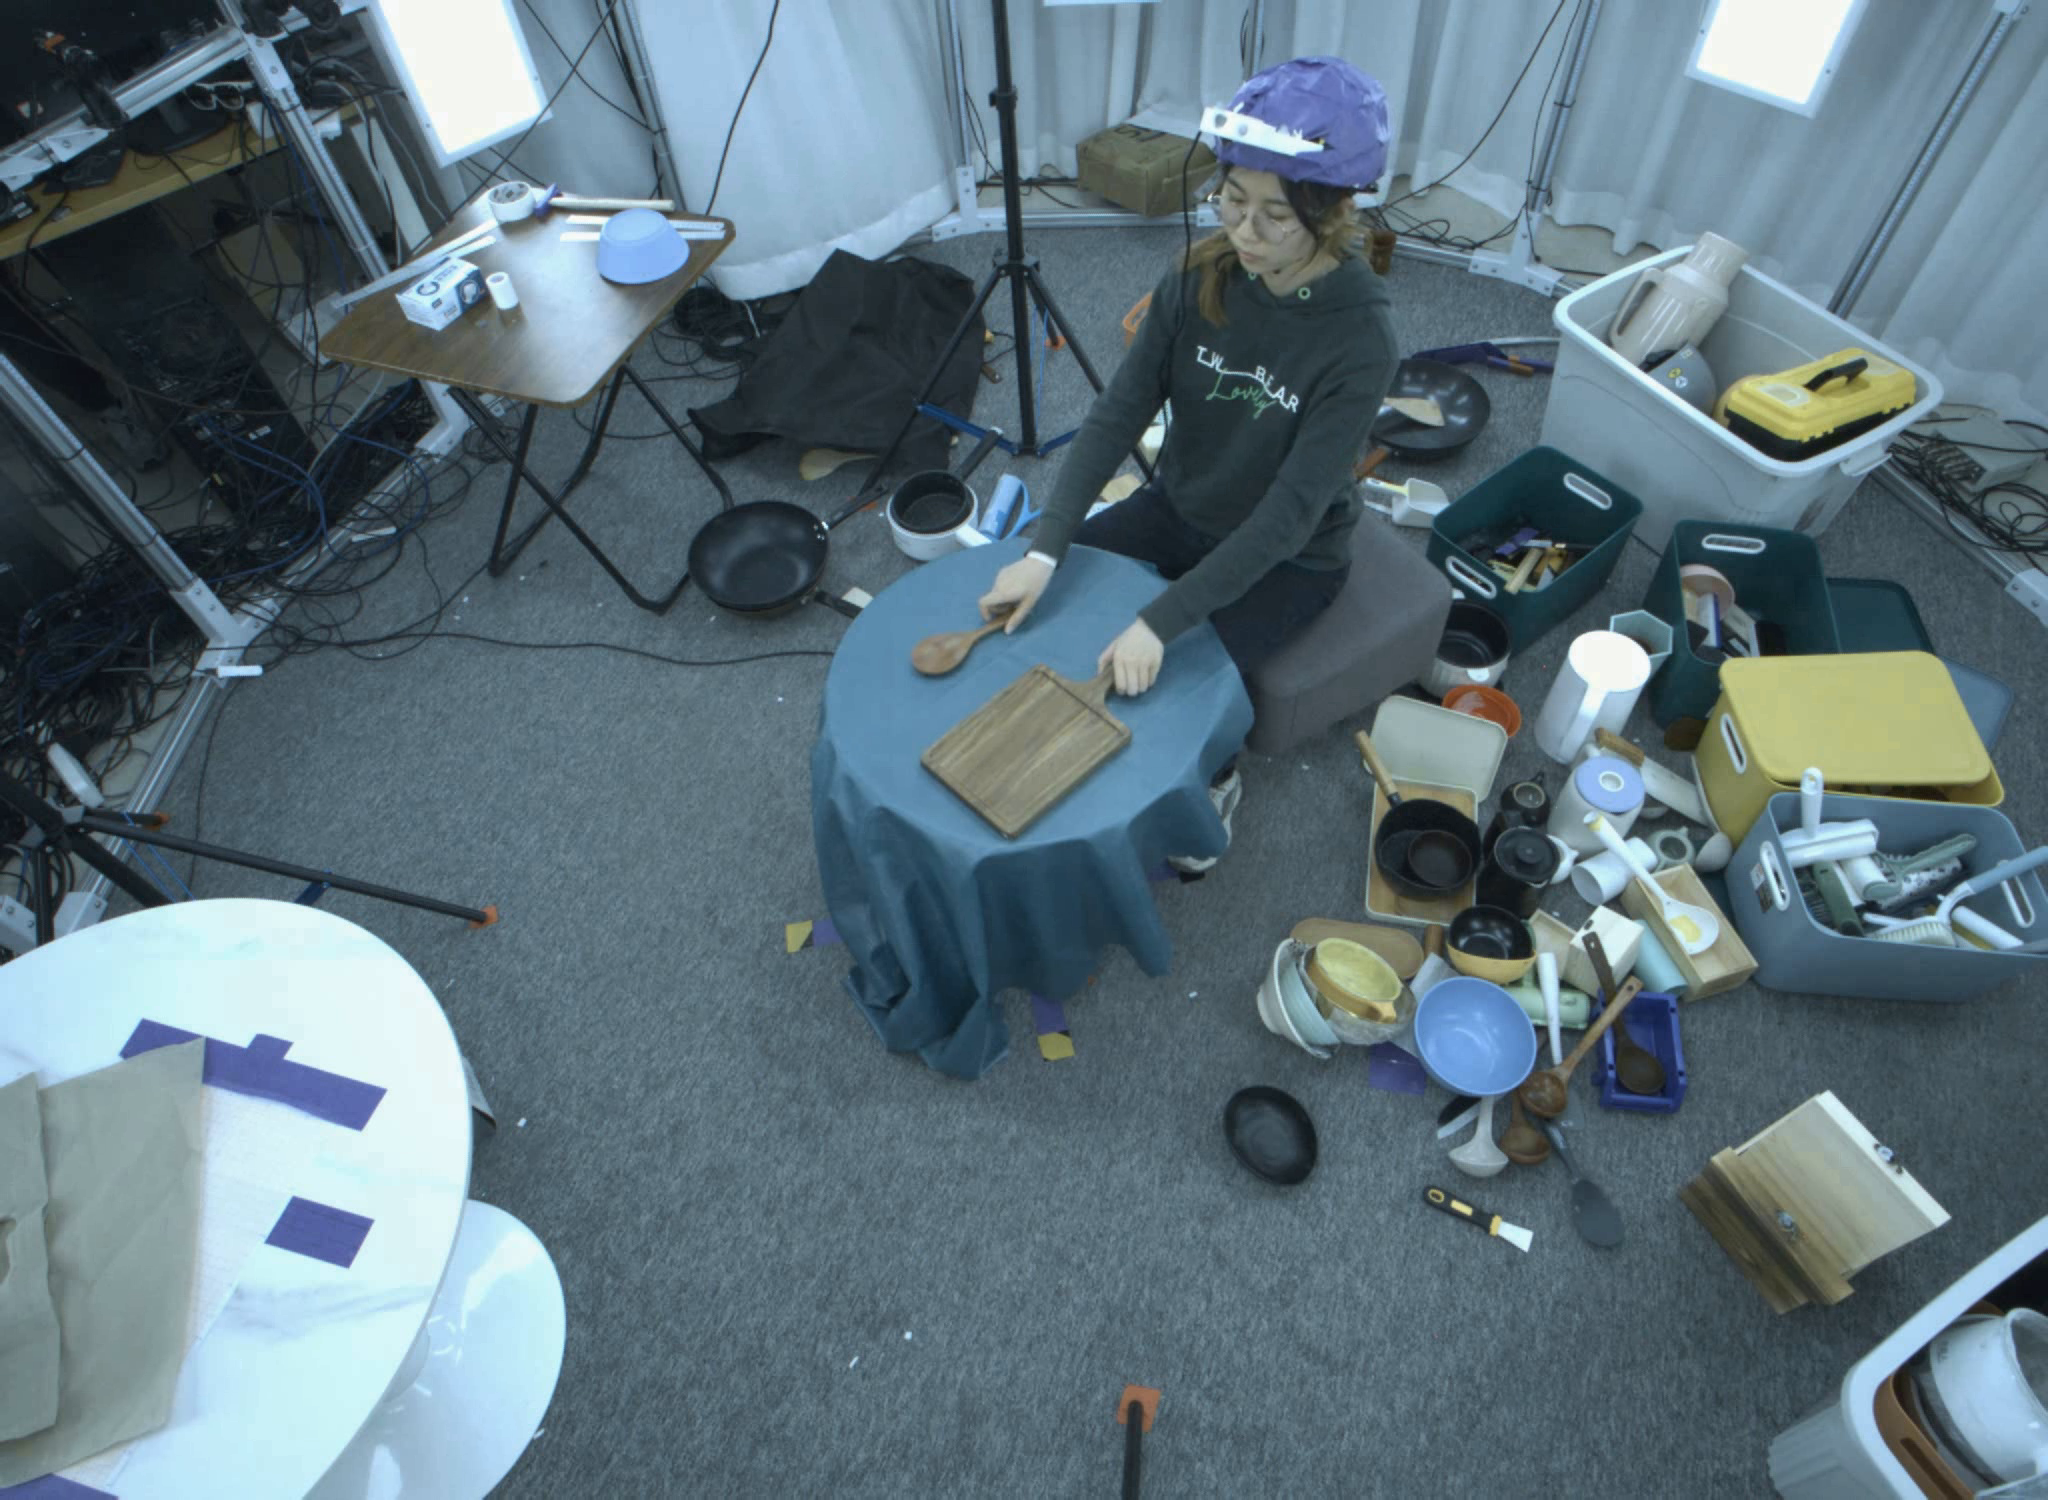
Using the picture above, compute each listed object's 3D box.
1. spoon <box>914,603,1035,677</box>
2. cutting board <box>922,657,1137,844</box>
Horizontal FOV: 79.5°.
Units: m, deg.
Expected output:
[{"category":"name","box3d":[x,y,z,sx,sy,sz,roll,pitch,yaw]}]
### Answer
[{"category":"spoon","box3d":[-0.075,-0.172,1.910,0.217,0.017,0.074,-31,58,-18]},{"category":"cutting board","box3d":[0.041,-0.027,1.805,0.354,0.023,0.197,-39,62,-23]}]
